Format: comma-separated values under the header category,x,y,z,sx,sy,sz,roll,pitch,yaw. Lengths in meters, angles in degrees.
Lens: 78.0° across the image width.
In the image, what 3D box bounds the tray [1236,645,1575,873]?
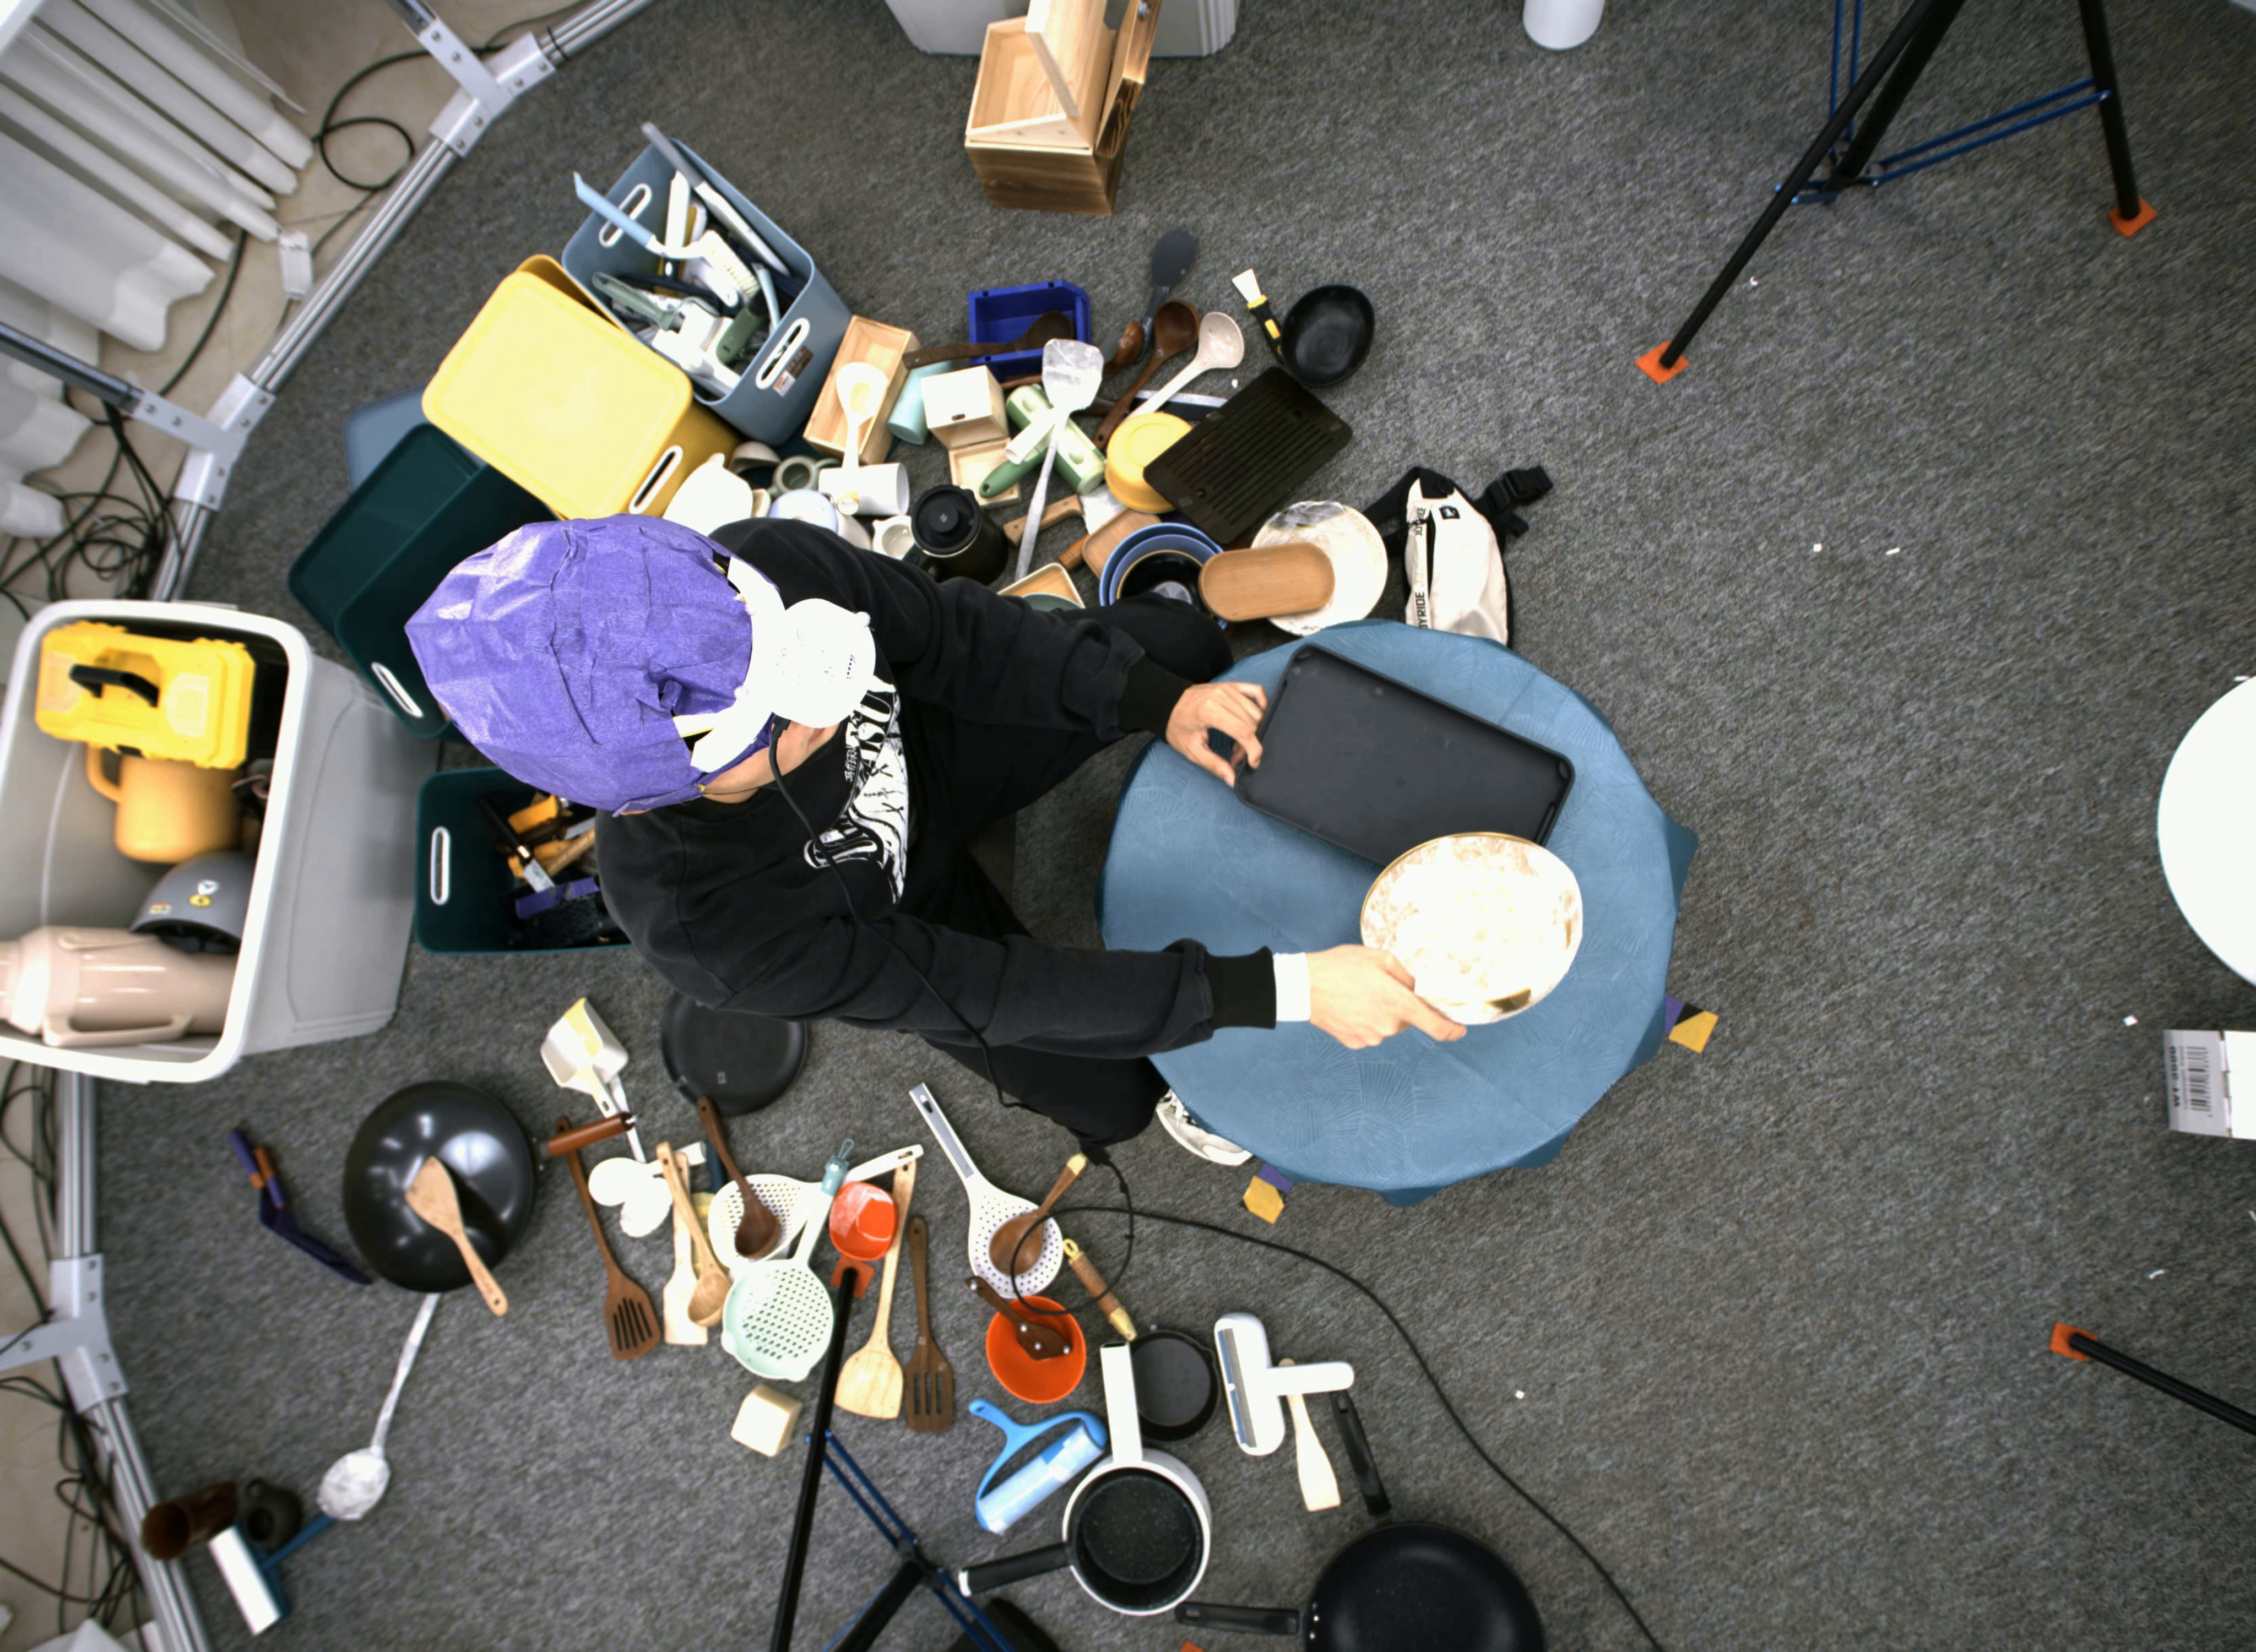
category,x,y,z,sx,sy,sz,roll,pitch,yaw
tray,0.286,-0.045,1.431,0.318,0.037,0.184,26,90,2

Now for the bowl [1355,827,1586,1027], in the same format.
category,x,y,z,sx,sy,sz,roll,pitch,yaw
bowl,0.325,0.109,1.302,0.216,0.096,0.209,-13,48,14
